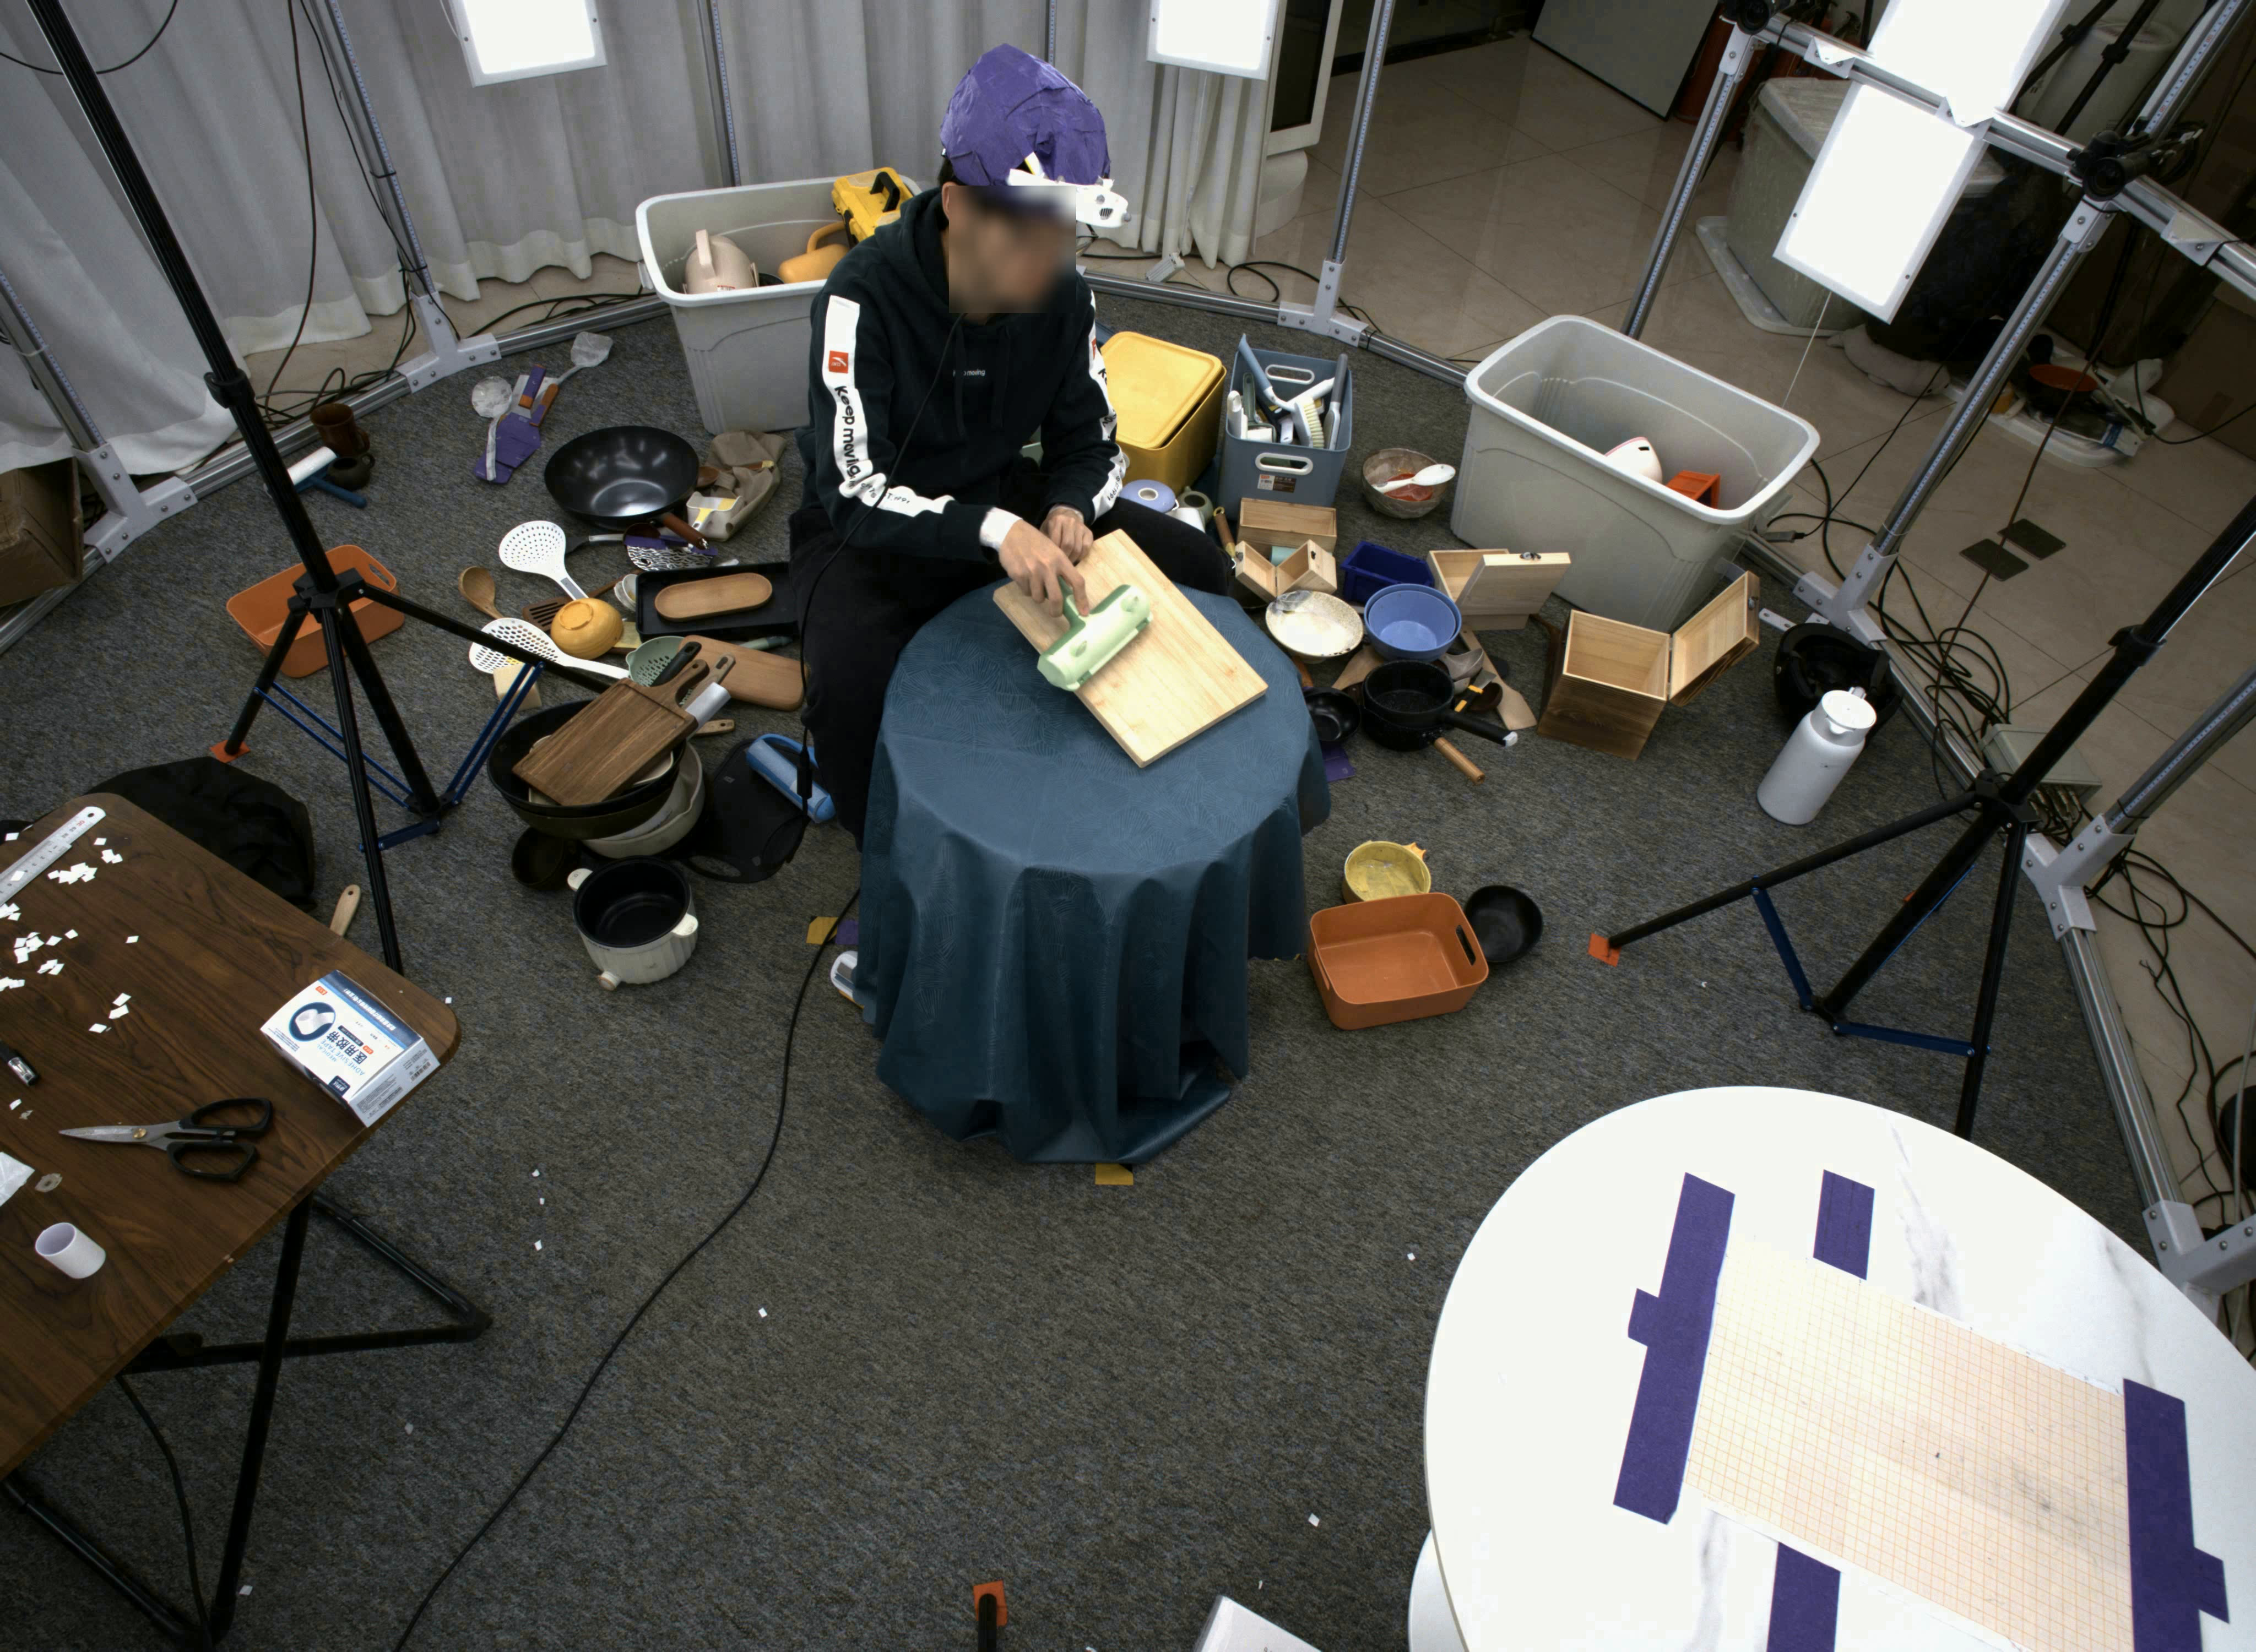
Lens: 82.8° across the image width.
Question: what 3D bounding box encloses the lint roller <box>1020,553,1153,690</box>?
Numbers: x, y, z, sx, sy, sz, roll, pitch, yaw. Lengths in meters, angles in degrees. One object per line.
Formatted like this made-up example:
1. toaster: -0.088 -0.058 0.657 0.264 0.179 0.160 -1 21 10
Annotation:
1. lint roller: -0.075 -0.310 1.771 0.201 0.082 0.182 -45 103 -32

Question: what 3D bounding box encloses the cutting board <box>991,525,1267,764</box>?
1. cutting board: 0.001 -0.266 1.841 0.252 0.023 0.353 -32 70 -27
